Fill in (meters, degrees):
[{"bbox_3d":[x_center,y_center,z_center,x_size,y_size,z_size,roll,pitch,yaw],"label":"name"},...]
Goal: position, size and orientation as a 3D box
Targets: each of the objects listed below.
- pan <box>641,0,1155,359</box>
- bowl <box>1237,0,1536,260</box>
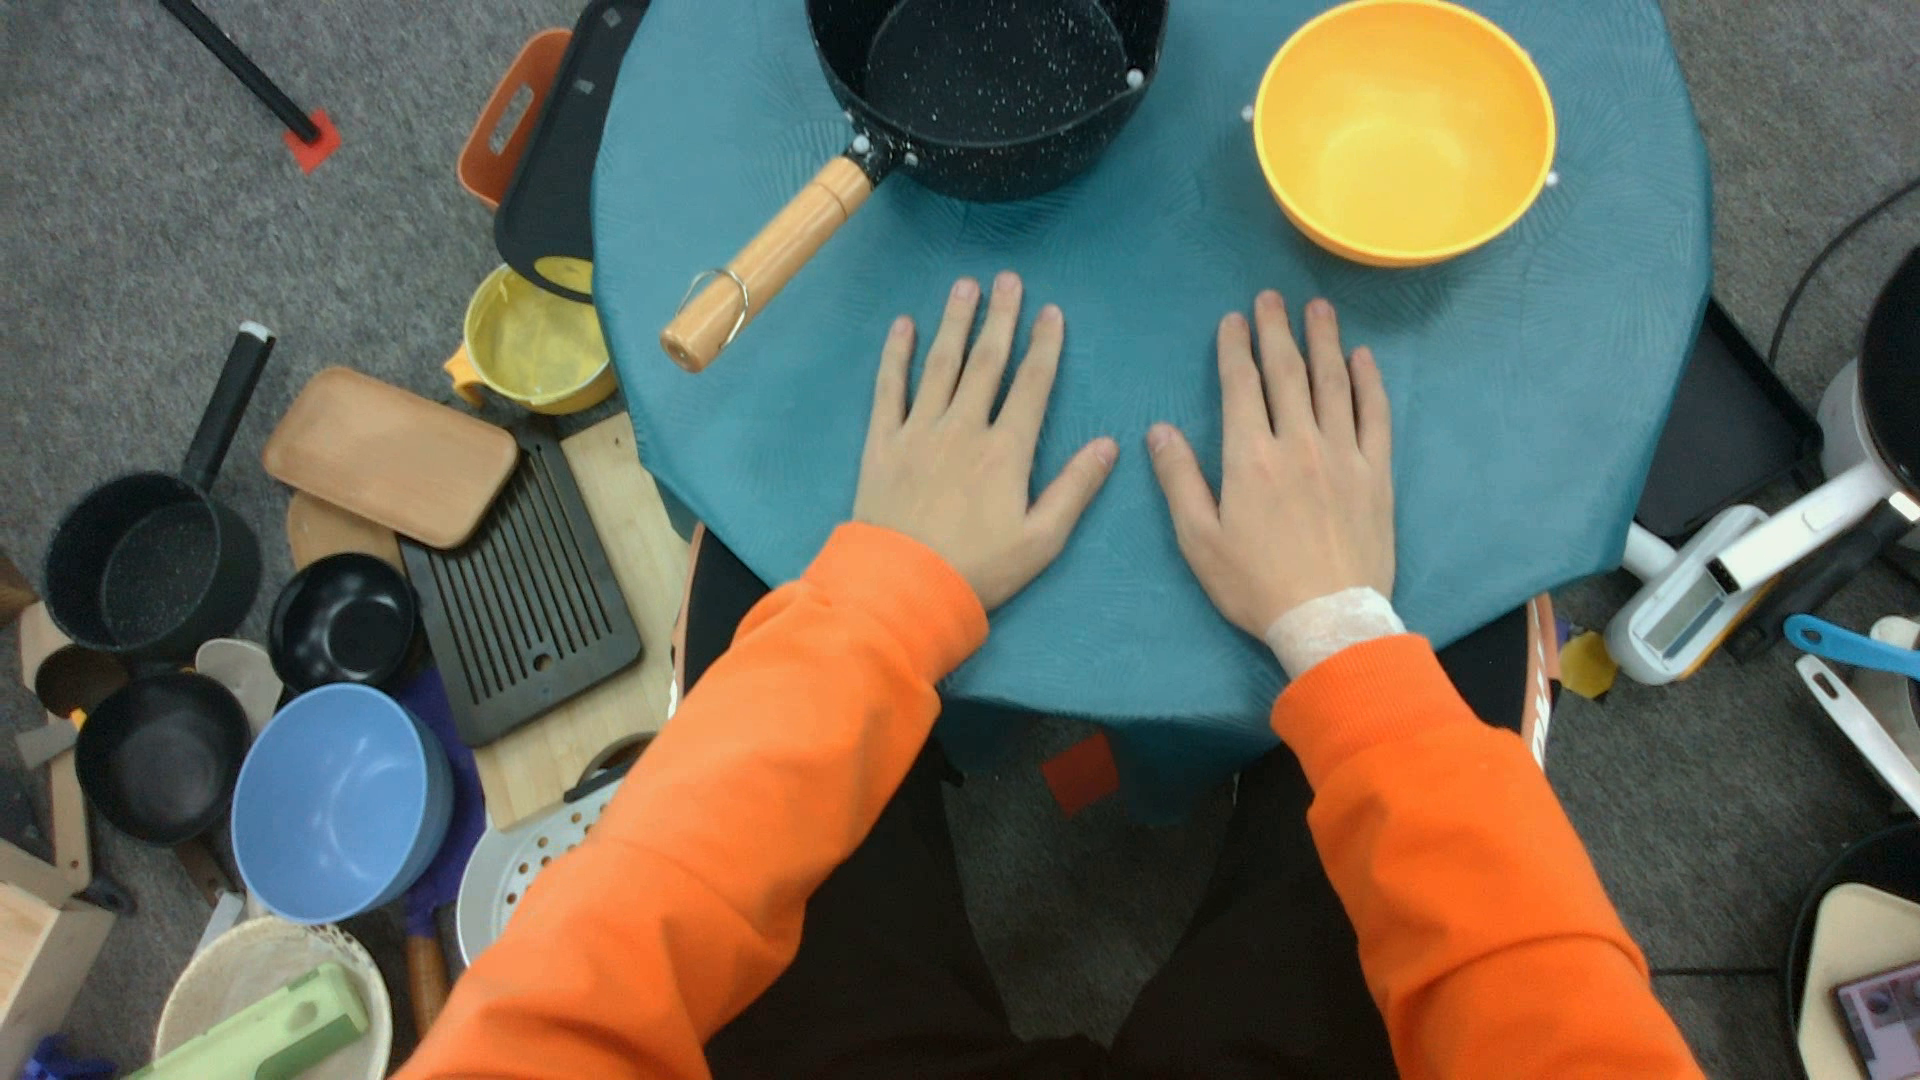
[{"bbox_3d":[-0.037,-0.210,0.706,0.207,0.108,0.343,33,77,11],"label":"pan"},{"bbox_3d":[0.215,-0.201,0.712,0.145,0.060,0.145,-1,74,5],"label":"bowl"}]
